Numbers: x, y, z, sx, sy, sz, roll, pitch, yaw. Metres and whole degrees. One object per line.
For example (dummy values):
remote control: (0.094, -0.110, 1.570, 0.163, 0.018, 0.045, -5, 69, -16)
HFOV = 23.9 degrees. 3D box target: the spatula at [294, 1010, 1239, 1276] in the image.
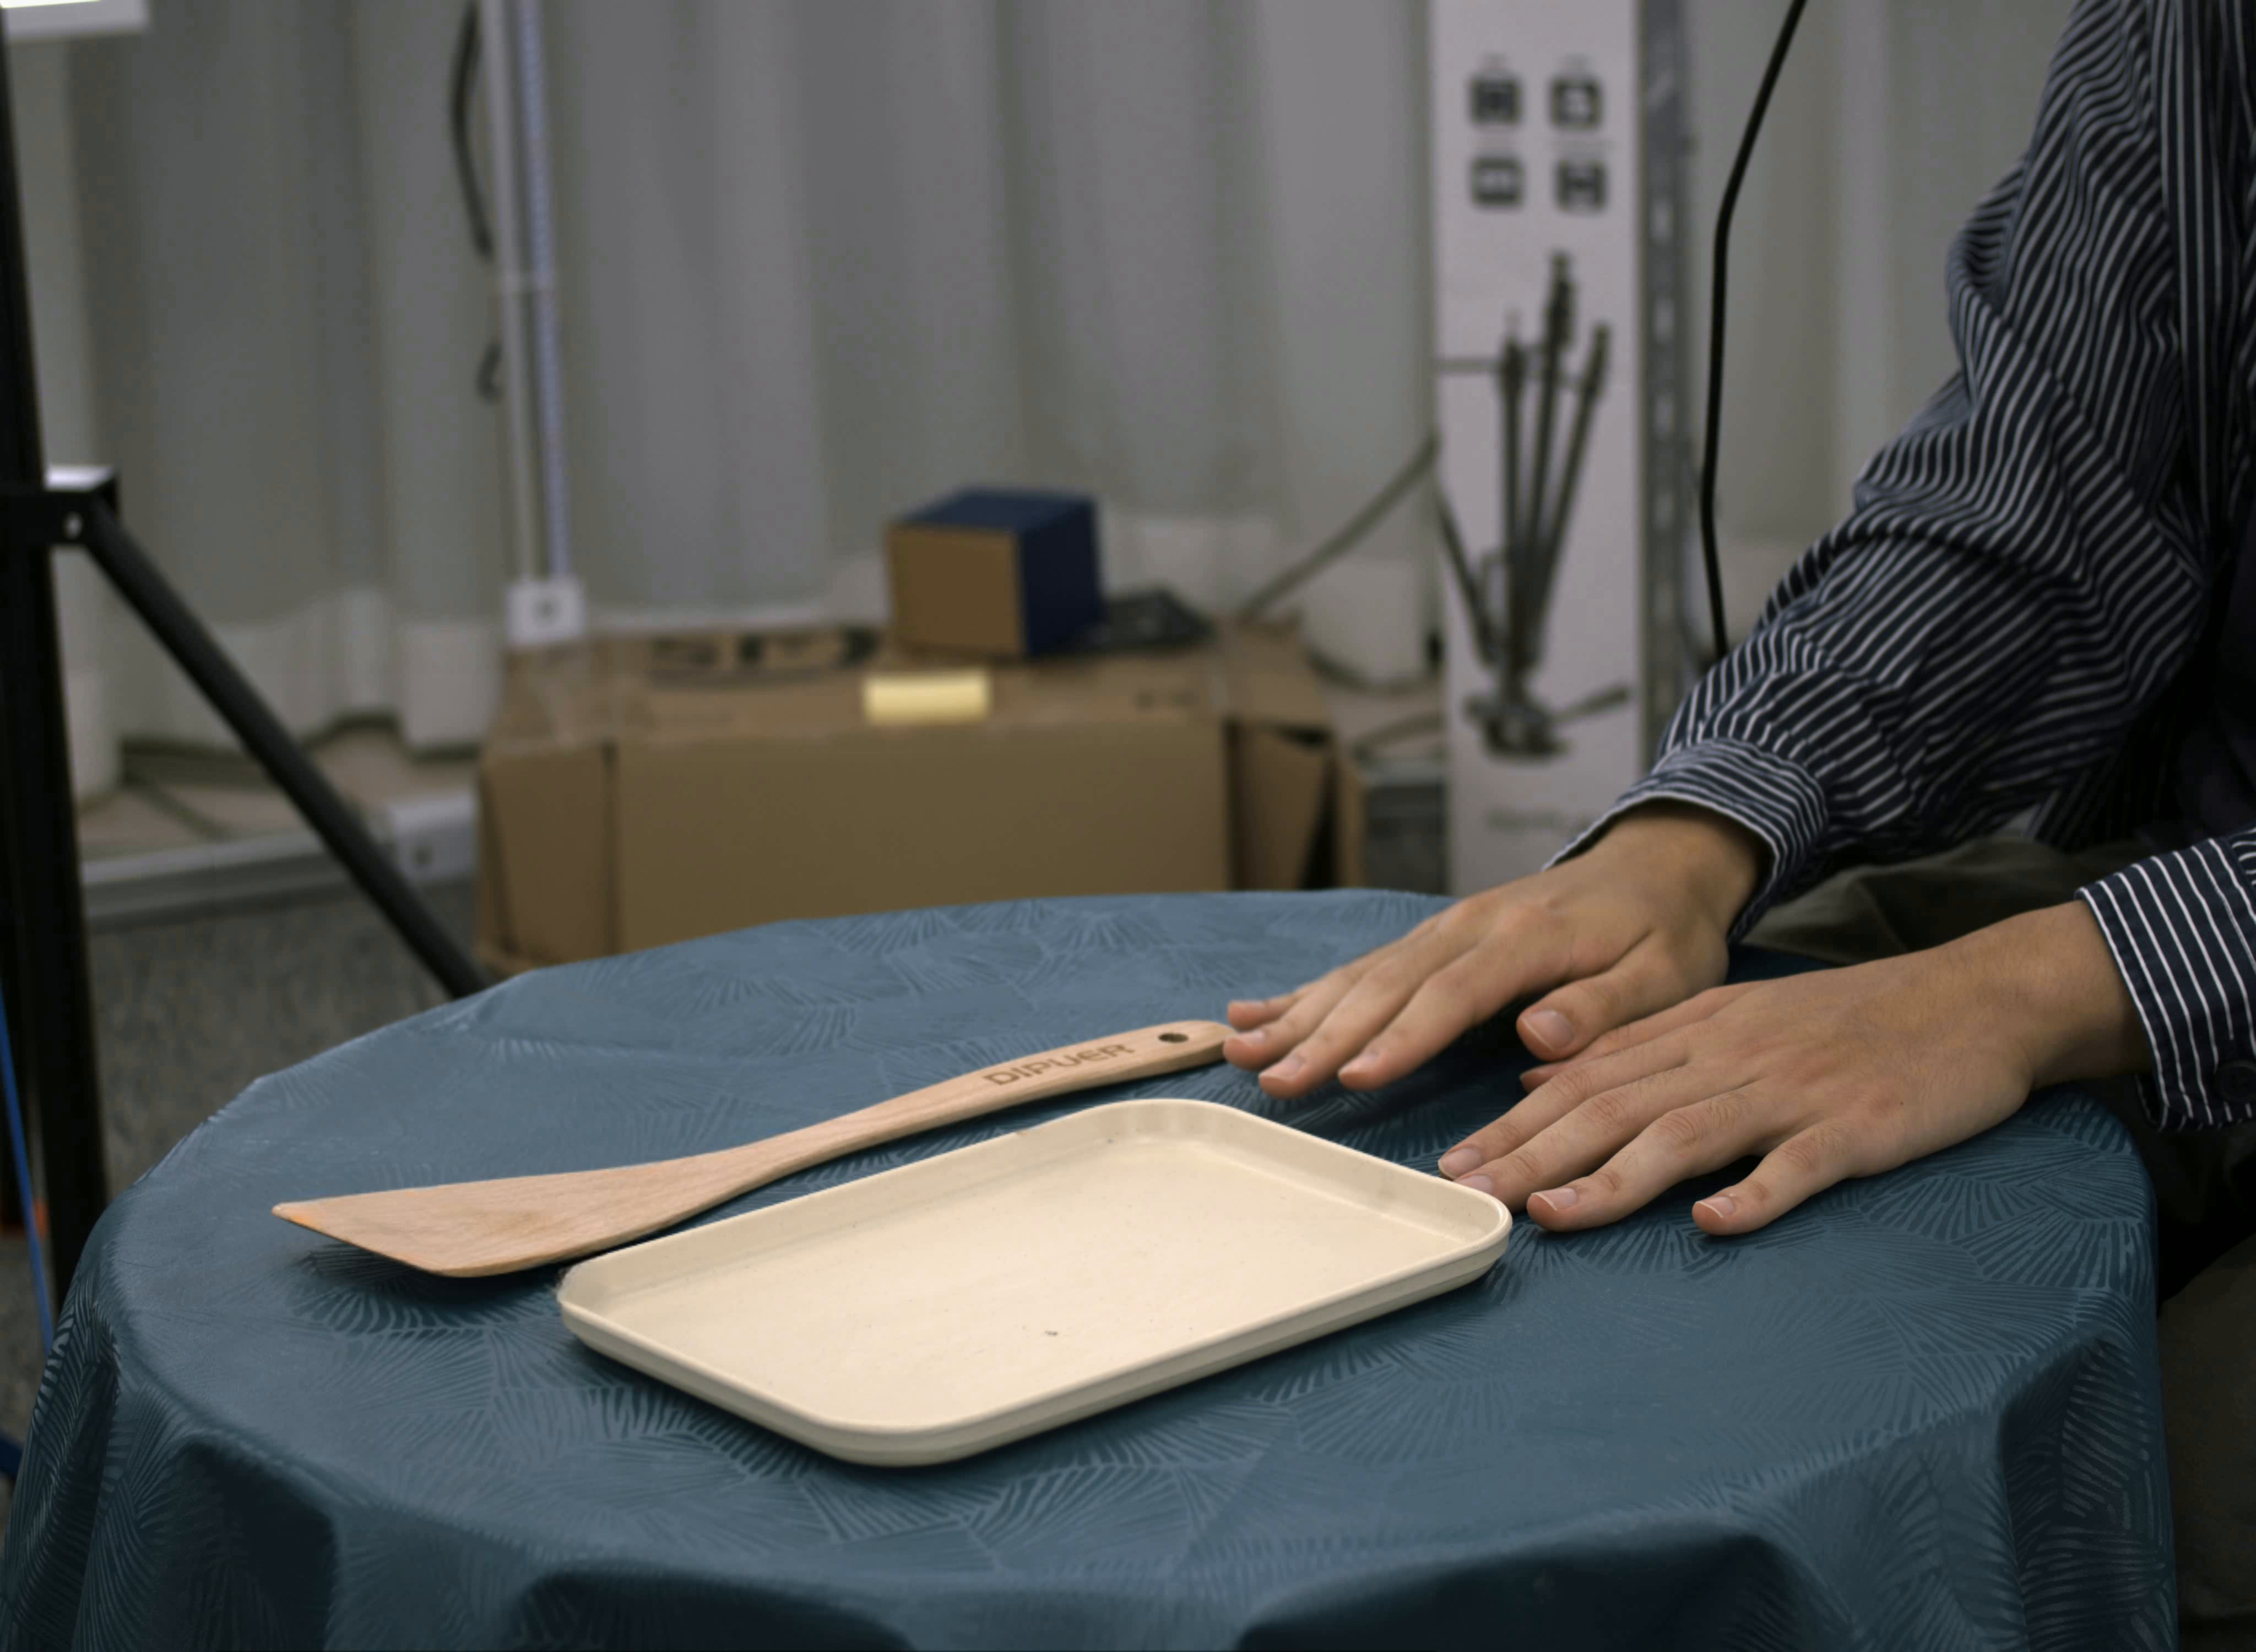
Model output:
spatula: (-0.093, 0.091, 1.604, 0.320, 0.016, 0.082, -15, 21, -35)

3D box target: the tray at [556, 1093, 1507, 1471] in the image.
tray: (-0.025, 0.125, 1.475, 0.234, 0.017, 0.175, -14, 20, -36)
